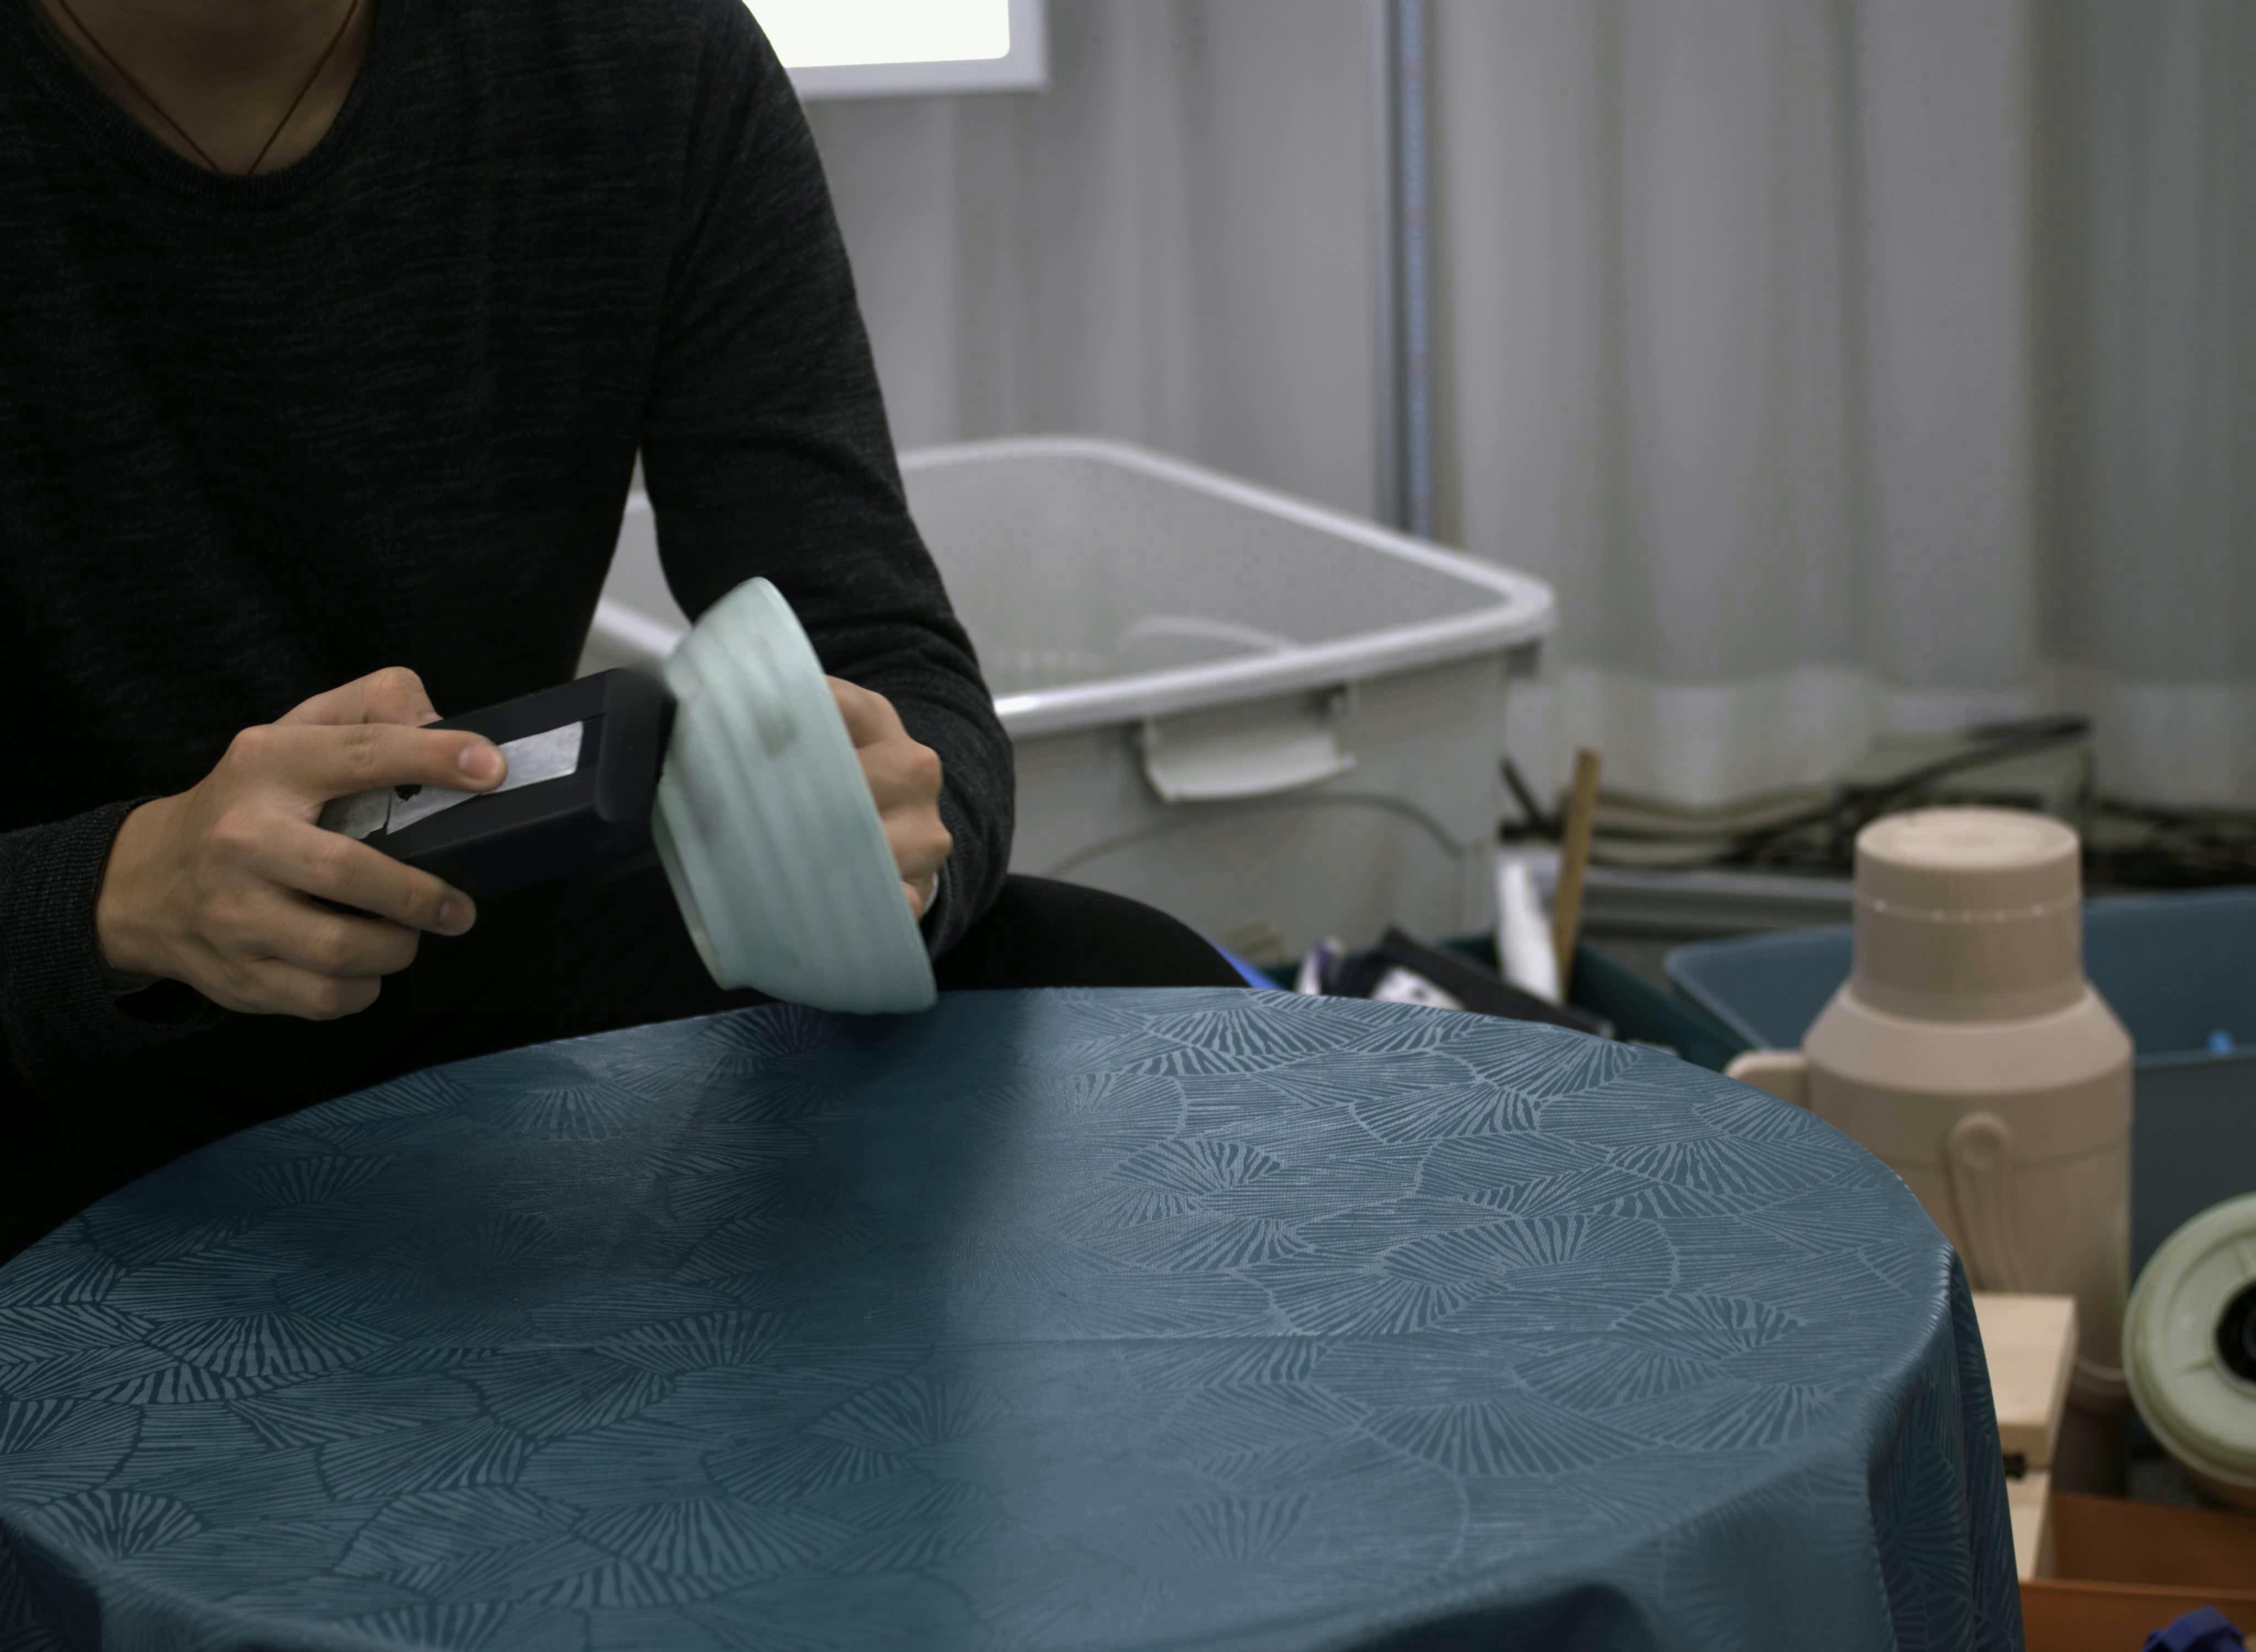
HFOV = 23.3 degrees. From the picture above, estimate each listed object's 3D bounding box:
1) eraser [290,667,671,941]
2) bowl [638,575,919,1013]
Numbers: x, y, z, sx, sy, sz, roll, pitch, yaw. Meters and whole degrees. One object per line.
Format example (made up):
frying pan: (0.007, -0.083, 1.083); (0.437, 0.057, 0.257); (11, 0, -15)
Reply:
eraser: (-0.192, -0.006, 1.628); (0.125, 0.054, 0.030); (-17, -36, 32)
bowl: (-0.116, -0.001, 1.659); (0.058, 0.150, 0.152); (-21, 17, -6)
